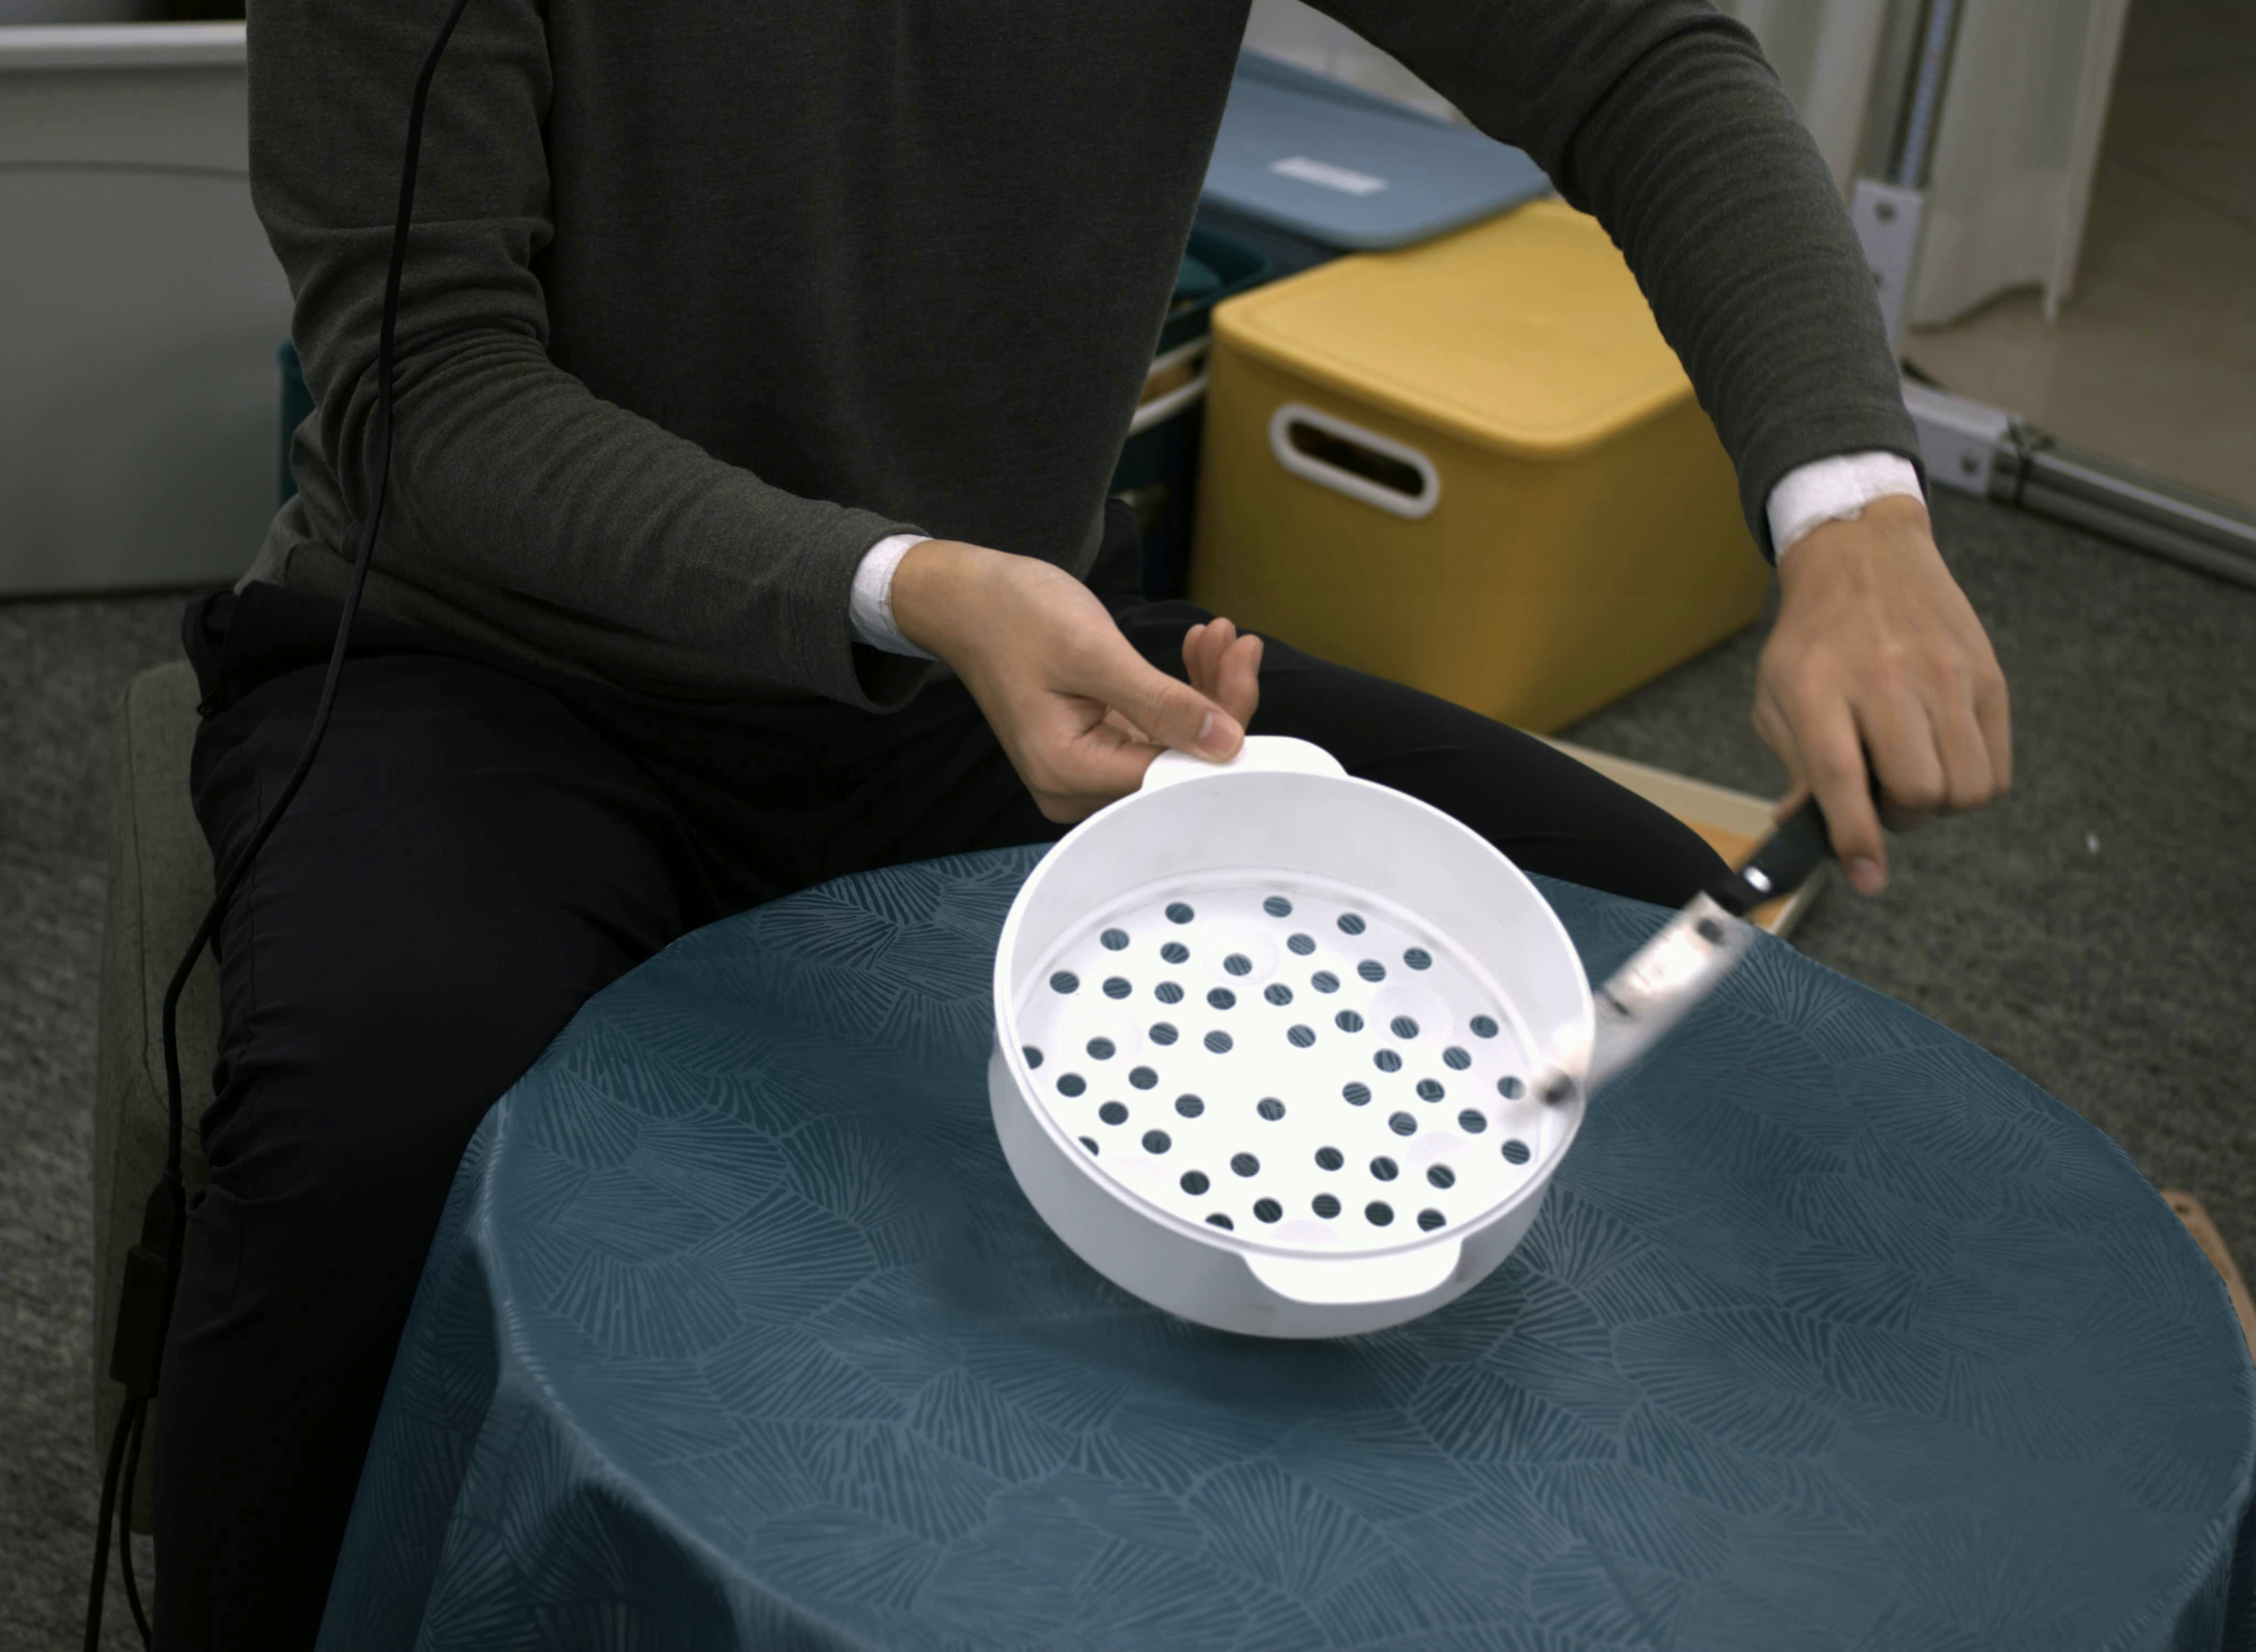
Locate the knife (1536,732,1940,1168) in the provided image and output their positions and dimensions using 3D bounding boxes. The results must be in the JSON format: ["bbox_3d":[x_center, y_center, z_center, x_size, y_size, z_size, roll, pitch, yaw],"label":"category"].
[{"bbox_3d":[0.200,0.039,1.758,0.024,0.016,0.238,40,55,10],"label":"knife"}]

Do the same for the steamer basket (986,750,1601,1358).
[{"bbox_3d":[0.053,0.081,1.765,0.201,0.069,0.233,-3,51,-11],"label":"steamer basket"}]
